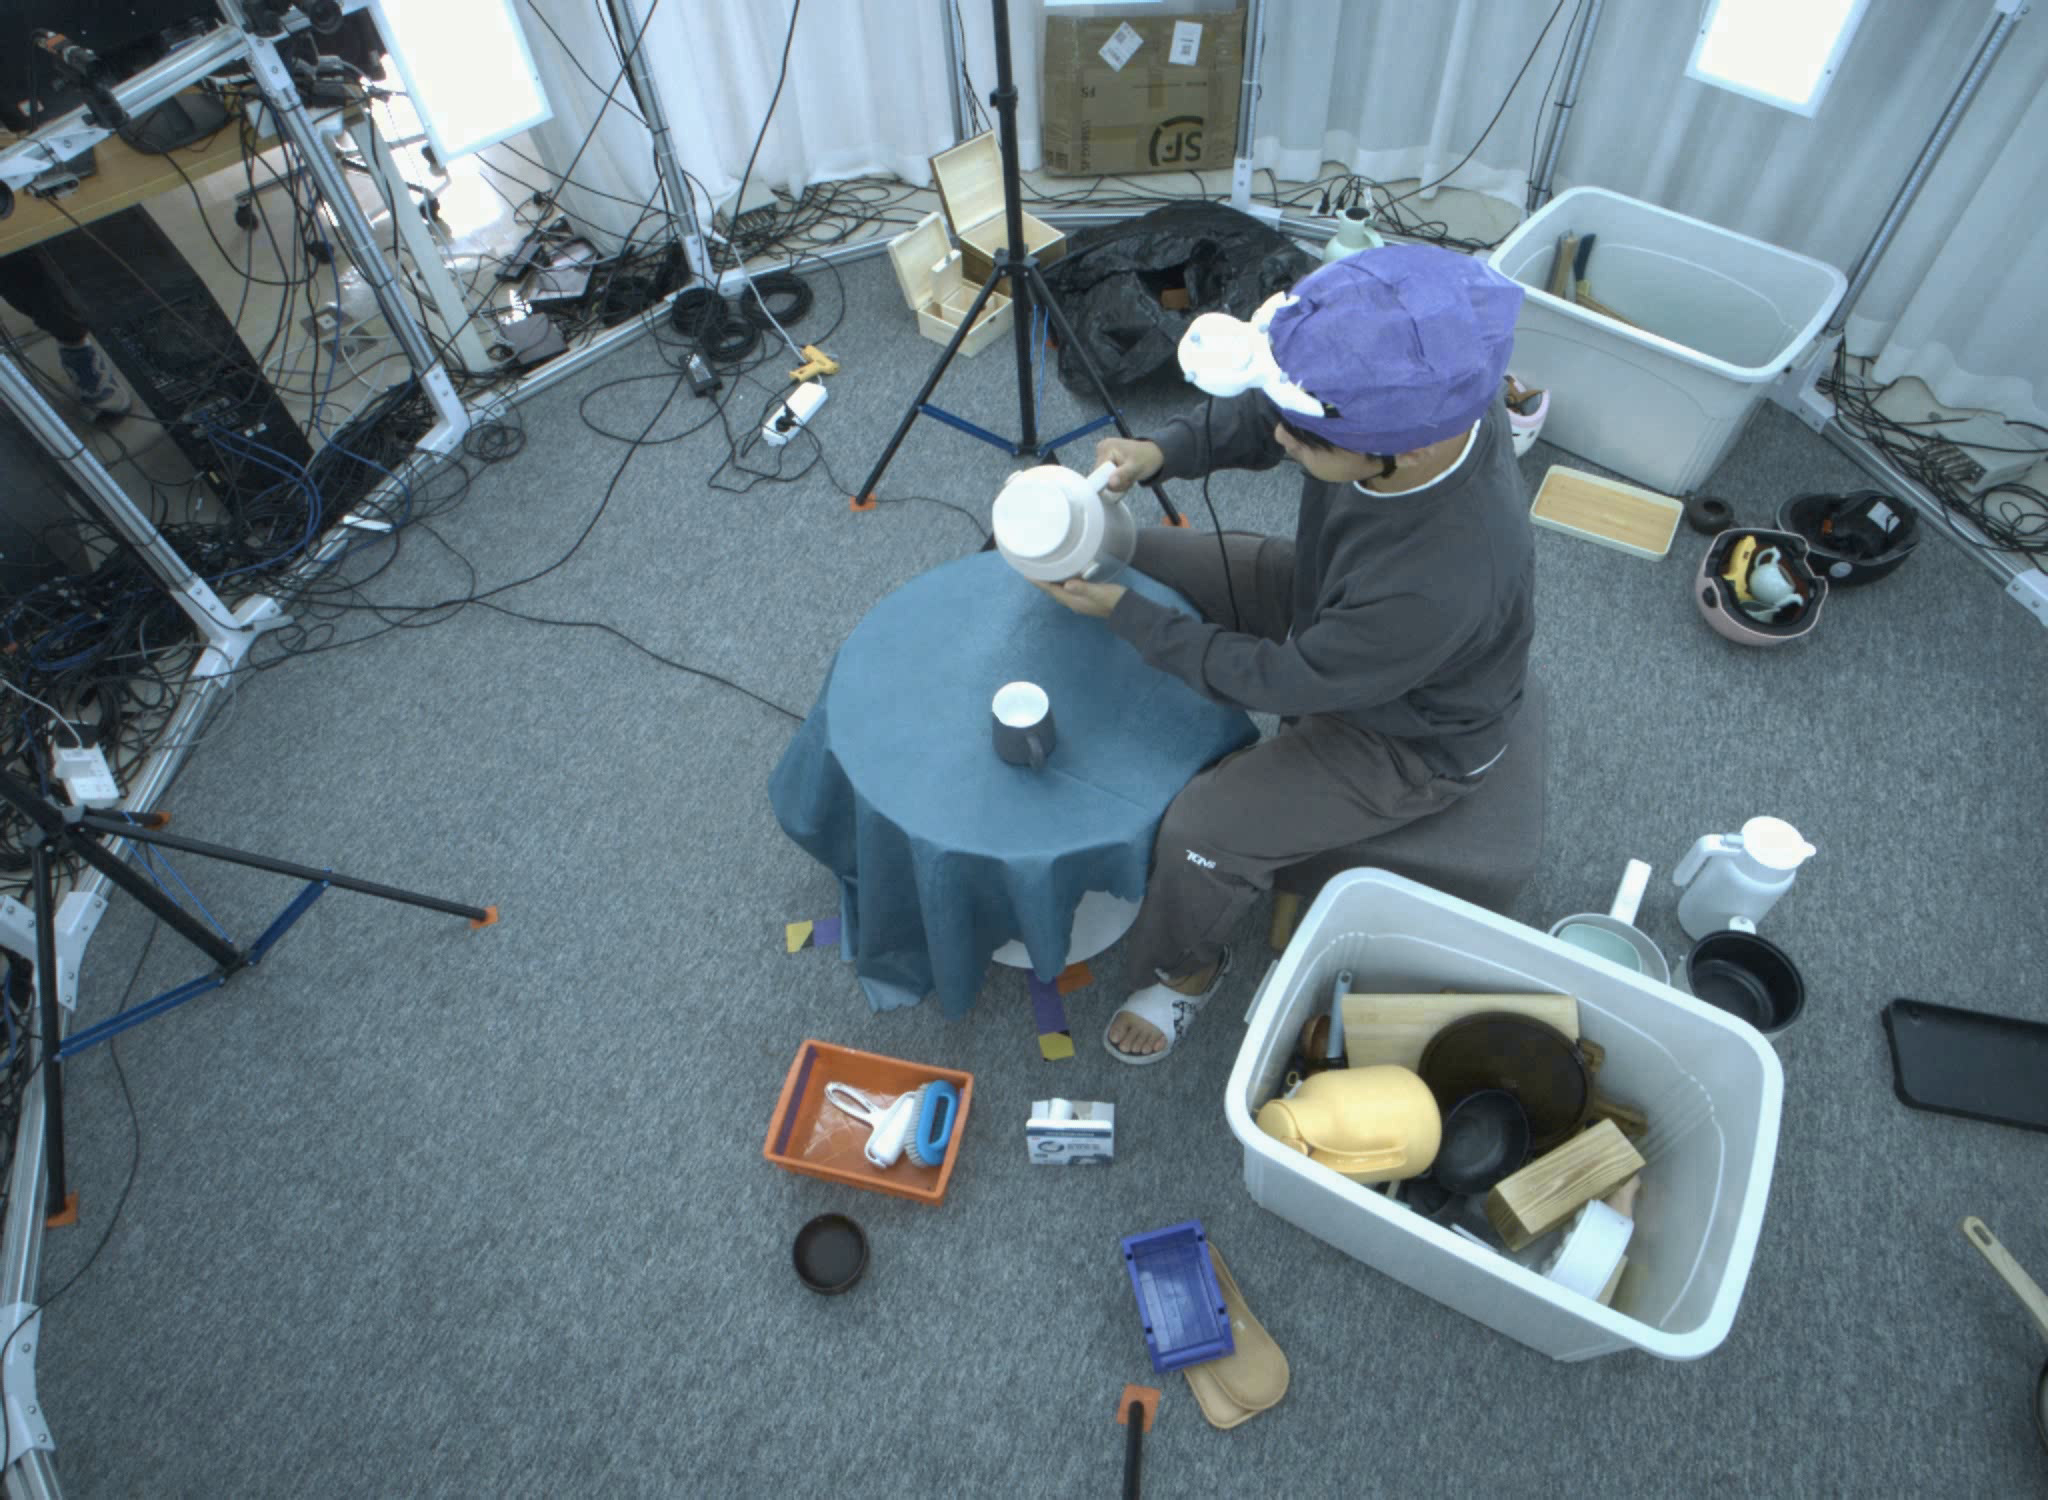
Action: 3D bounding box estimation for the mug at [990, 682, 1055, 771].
[{"bbox_3d":[0.001,-0.027,1.751,0.094,0.091,0.121,-16,55,-9],"label":"mug"}]

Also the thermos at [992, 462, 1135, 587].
[{"bbox_3d":[0.066,-0.329,1.760,0.206,0.409,0.175,-41,85,14],"label":"thermos"}]
